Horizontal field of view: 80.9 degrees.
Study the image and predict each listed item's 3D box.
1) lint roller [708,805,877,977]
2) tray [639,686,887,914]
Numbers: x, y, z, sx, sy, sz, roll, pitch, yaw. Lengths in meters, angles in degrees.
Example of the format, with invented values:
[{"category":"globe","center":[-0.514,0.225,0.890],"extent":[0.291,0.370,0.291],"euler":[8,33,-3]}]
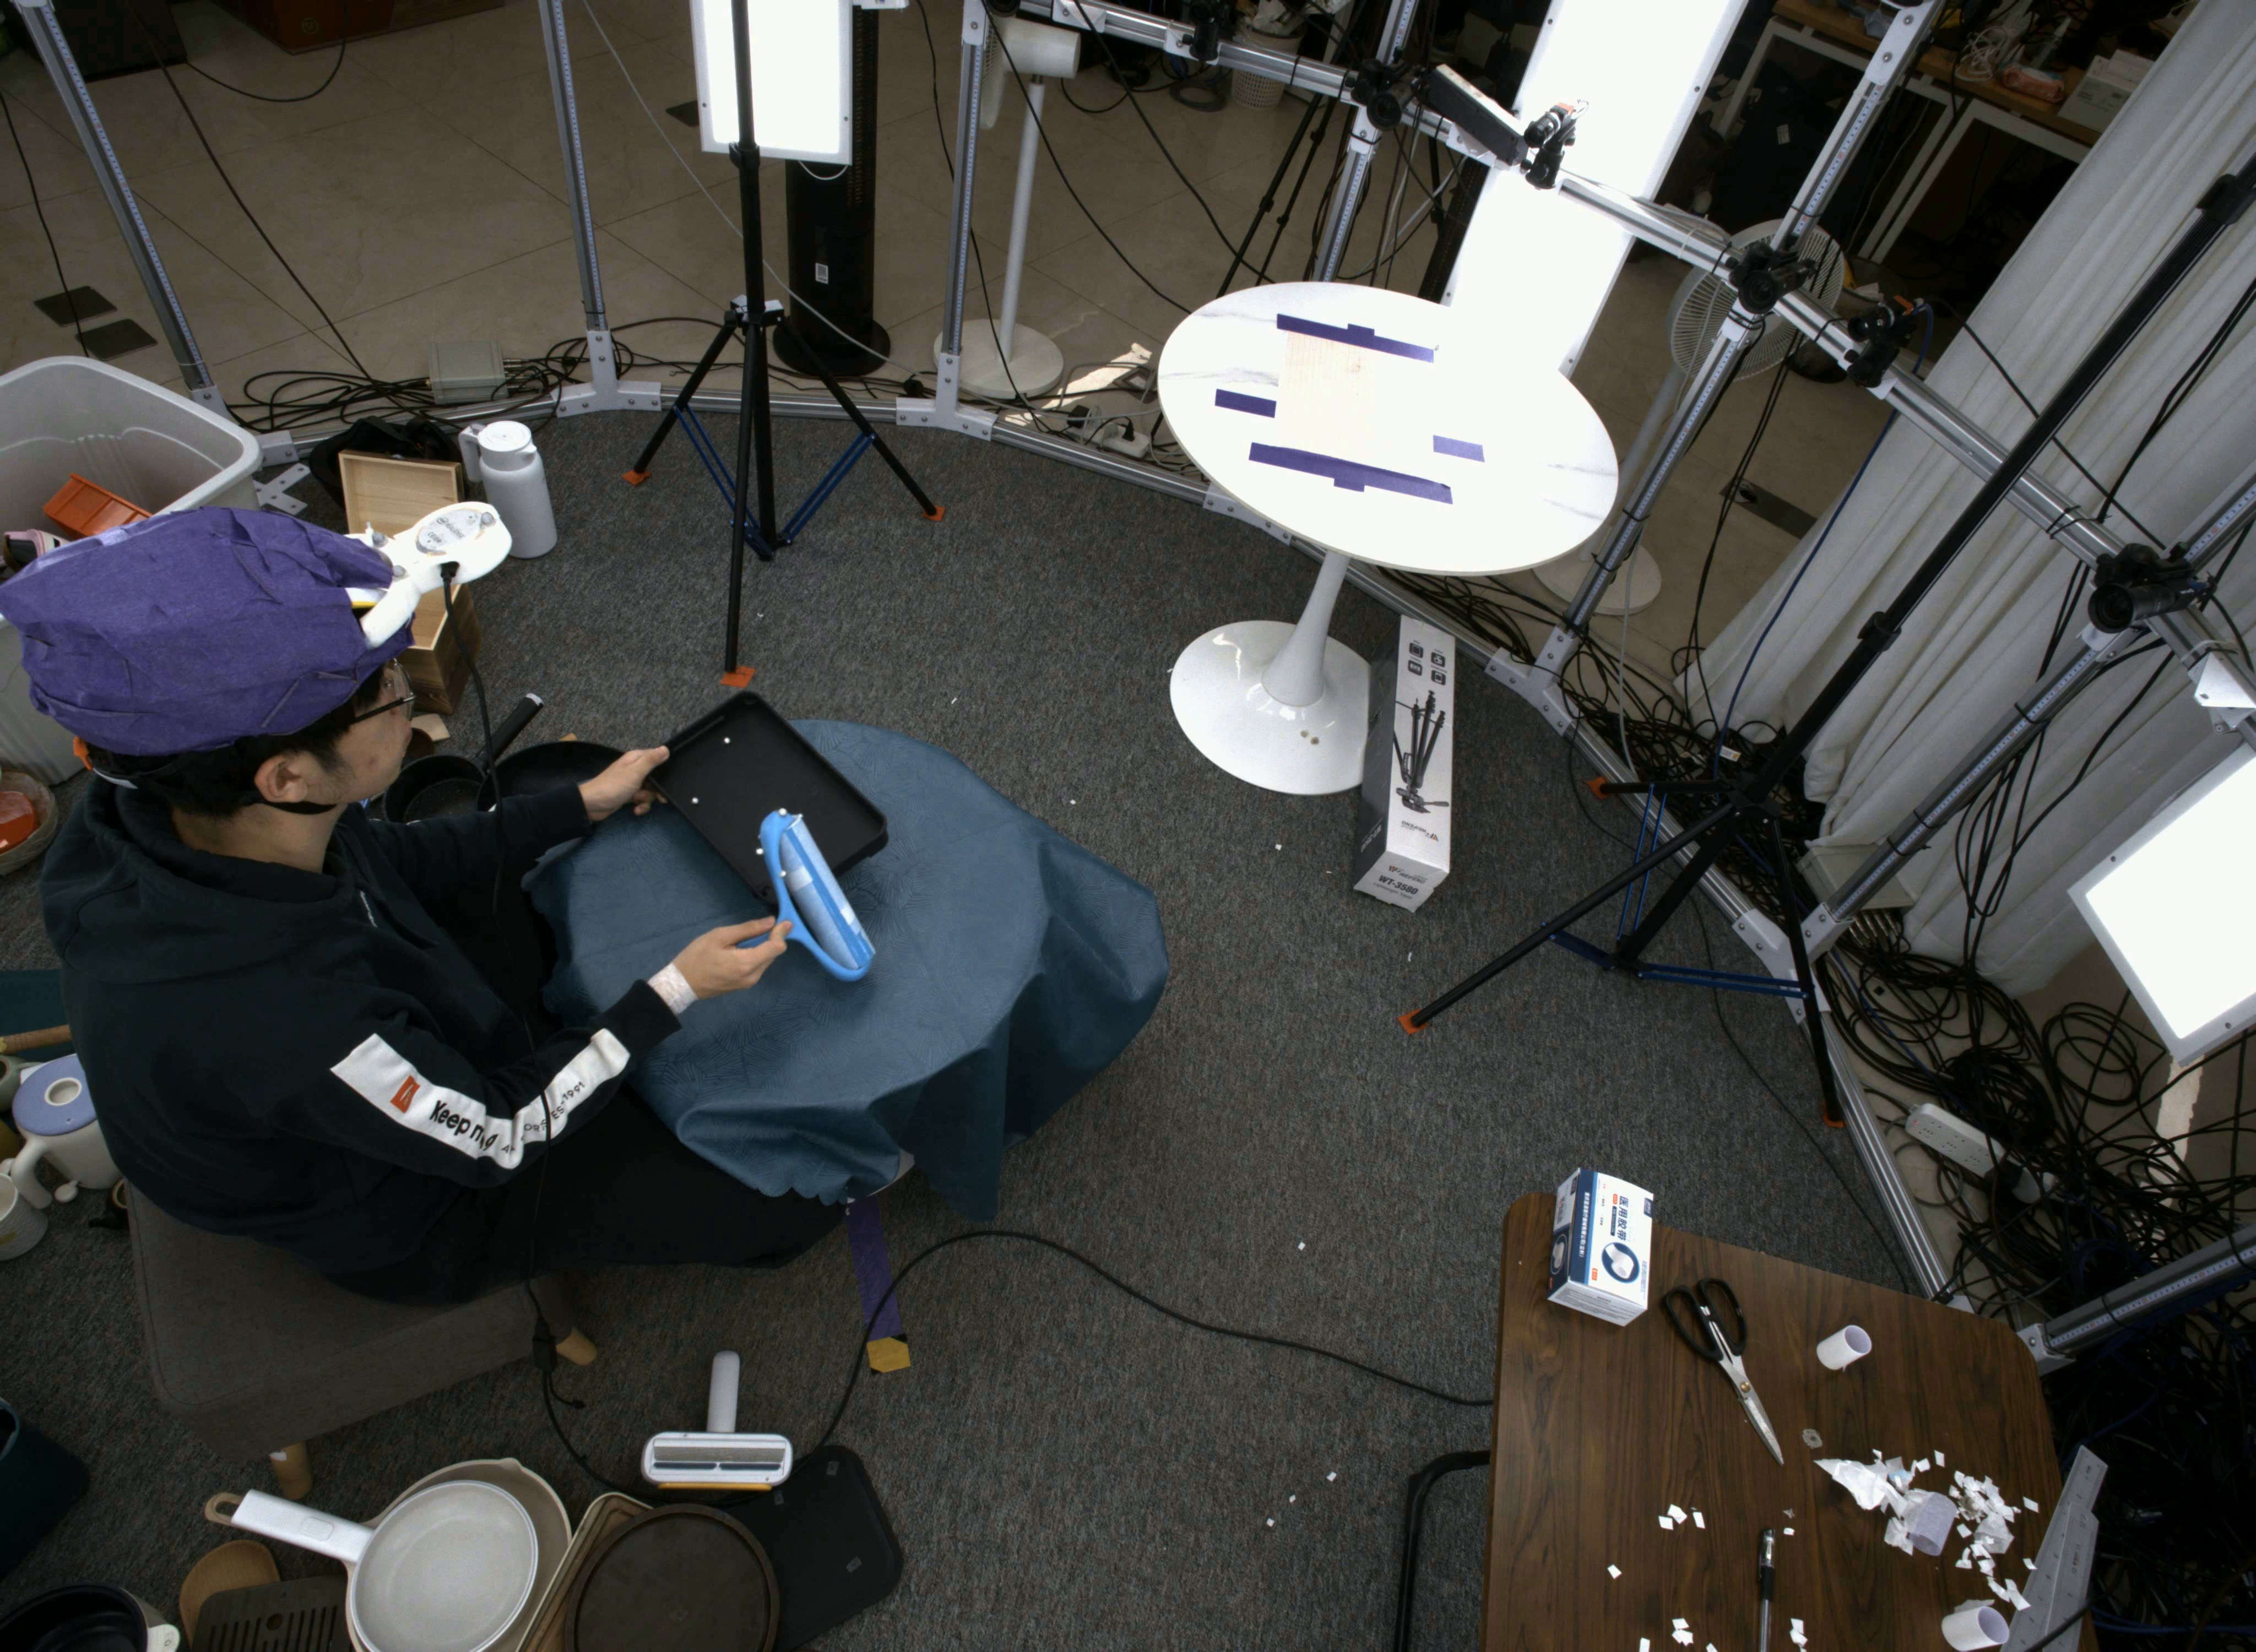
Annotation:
[{"category":"lint roller","center":[-0.406,0.111,1.517],"extent":[0.065,0.237,0.180],"euler":[5,39,47]},{"category":"tray","center":[-0.470,-0.039,1.658],"extent":[0.310,0.038,0.184],"euler":[40,66,20]}]
